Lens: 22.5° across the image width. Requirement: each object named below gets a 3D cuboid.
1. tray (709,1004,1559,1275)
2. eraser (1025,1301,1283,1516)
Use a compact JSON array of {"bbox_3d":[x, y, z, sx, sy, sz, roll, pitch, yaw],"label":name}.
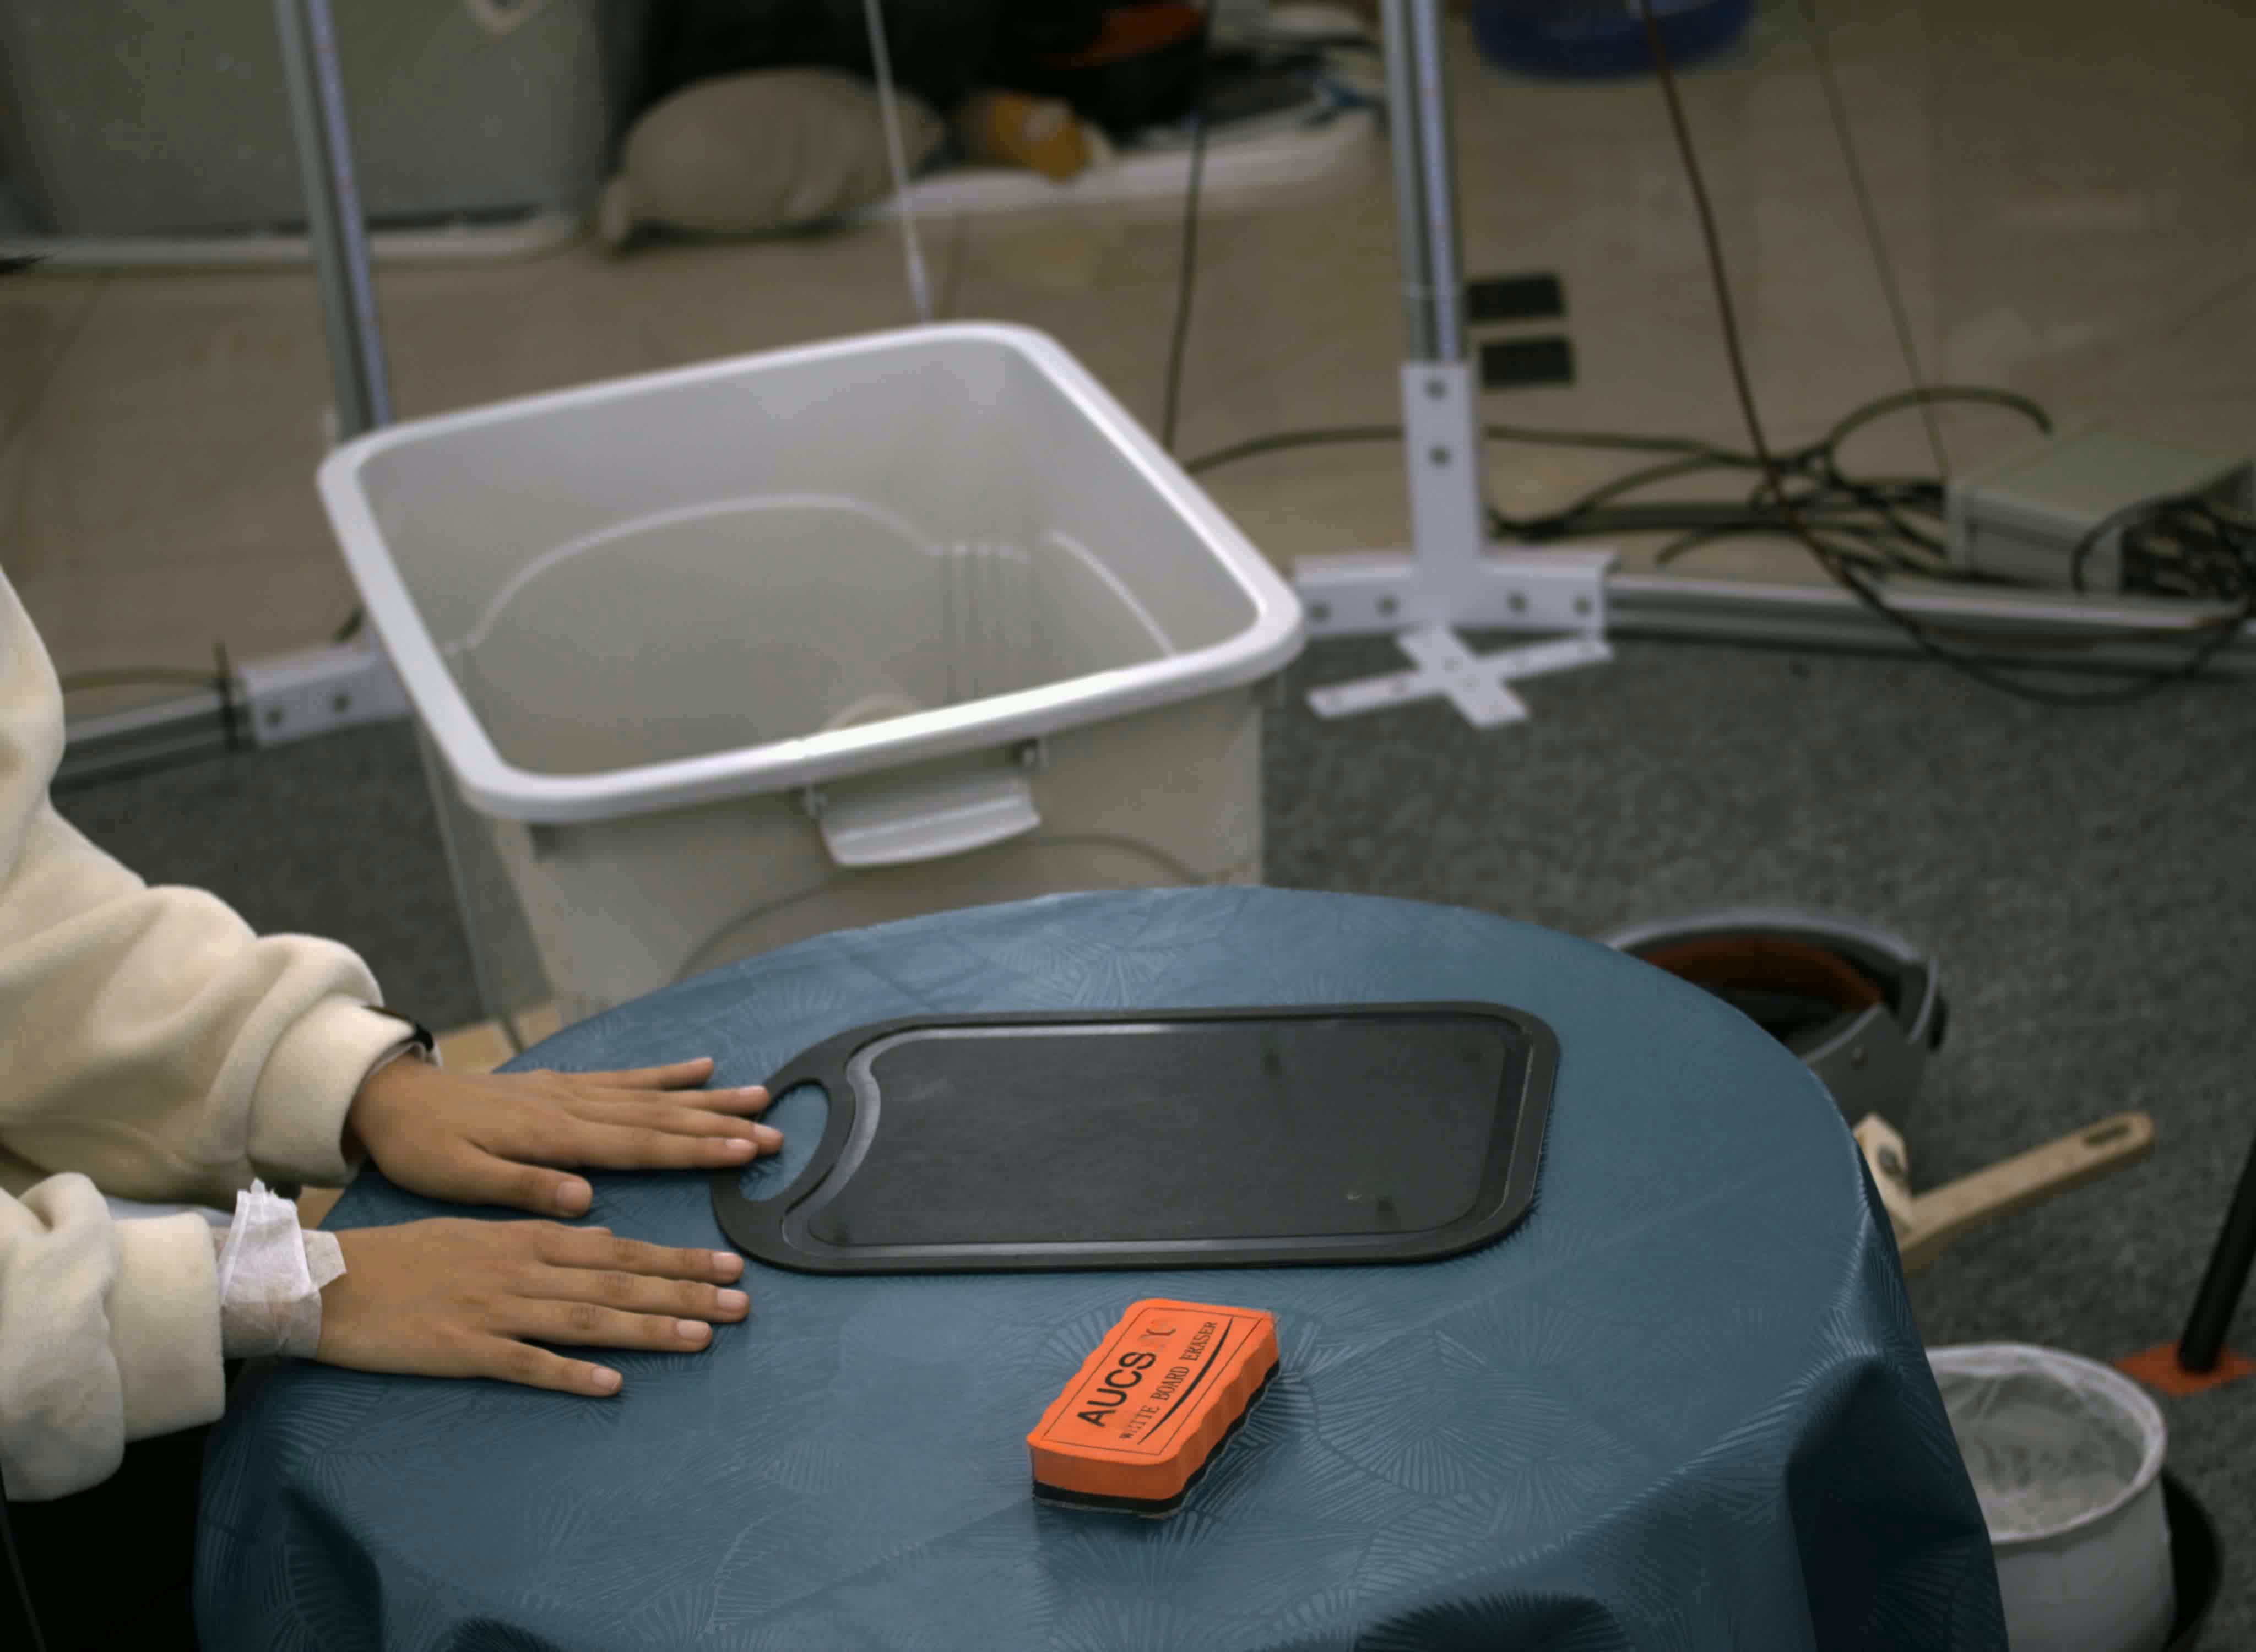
[{"bbox_3d":[-0.001,0.118,2.186,0.325,0.010,0.208,-2,25,11],"label":"tray"},{"bbox_3d":[0.010,0.202,1.981,0.059,0.023,0.106,6,27,24],"label":"eraser"}]
